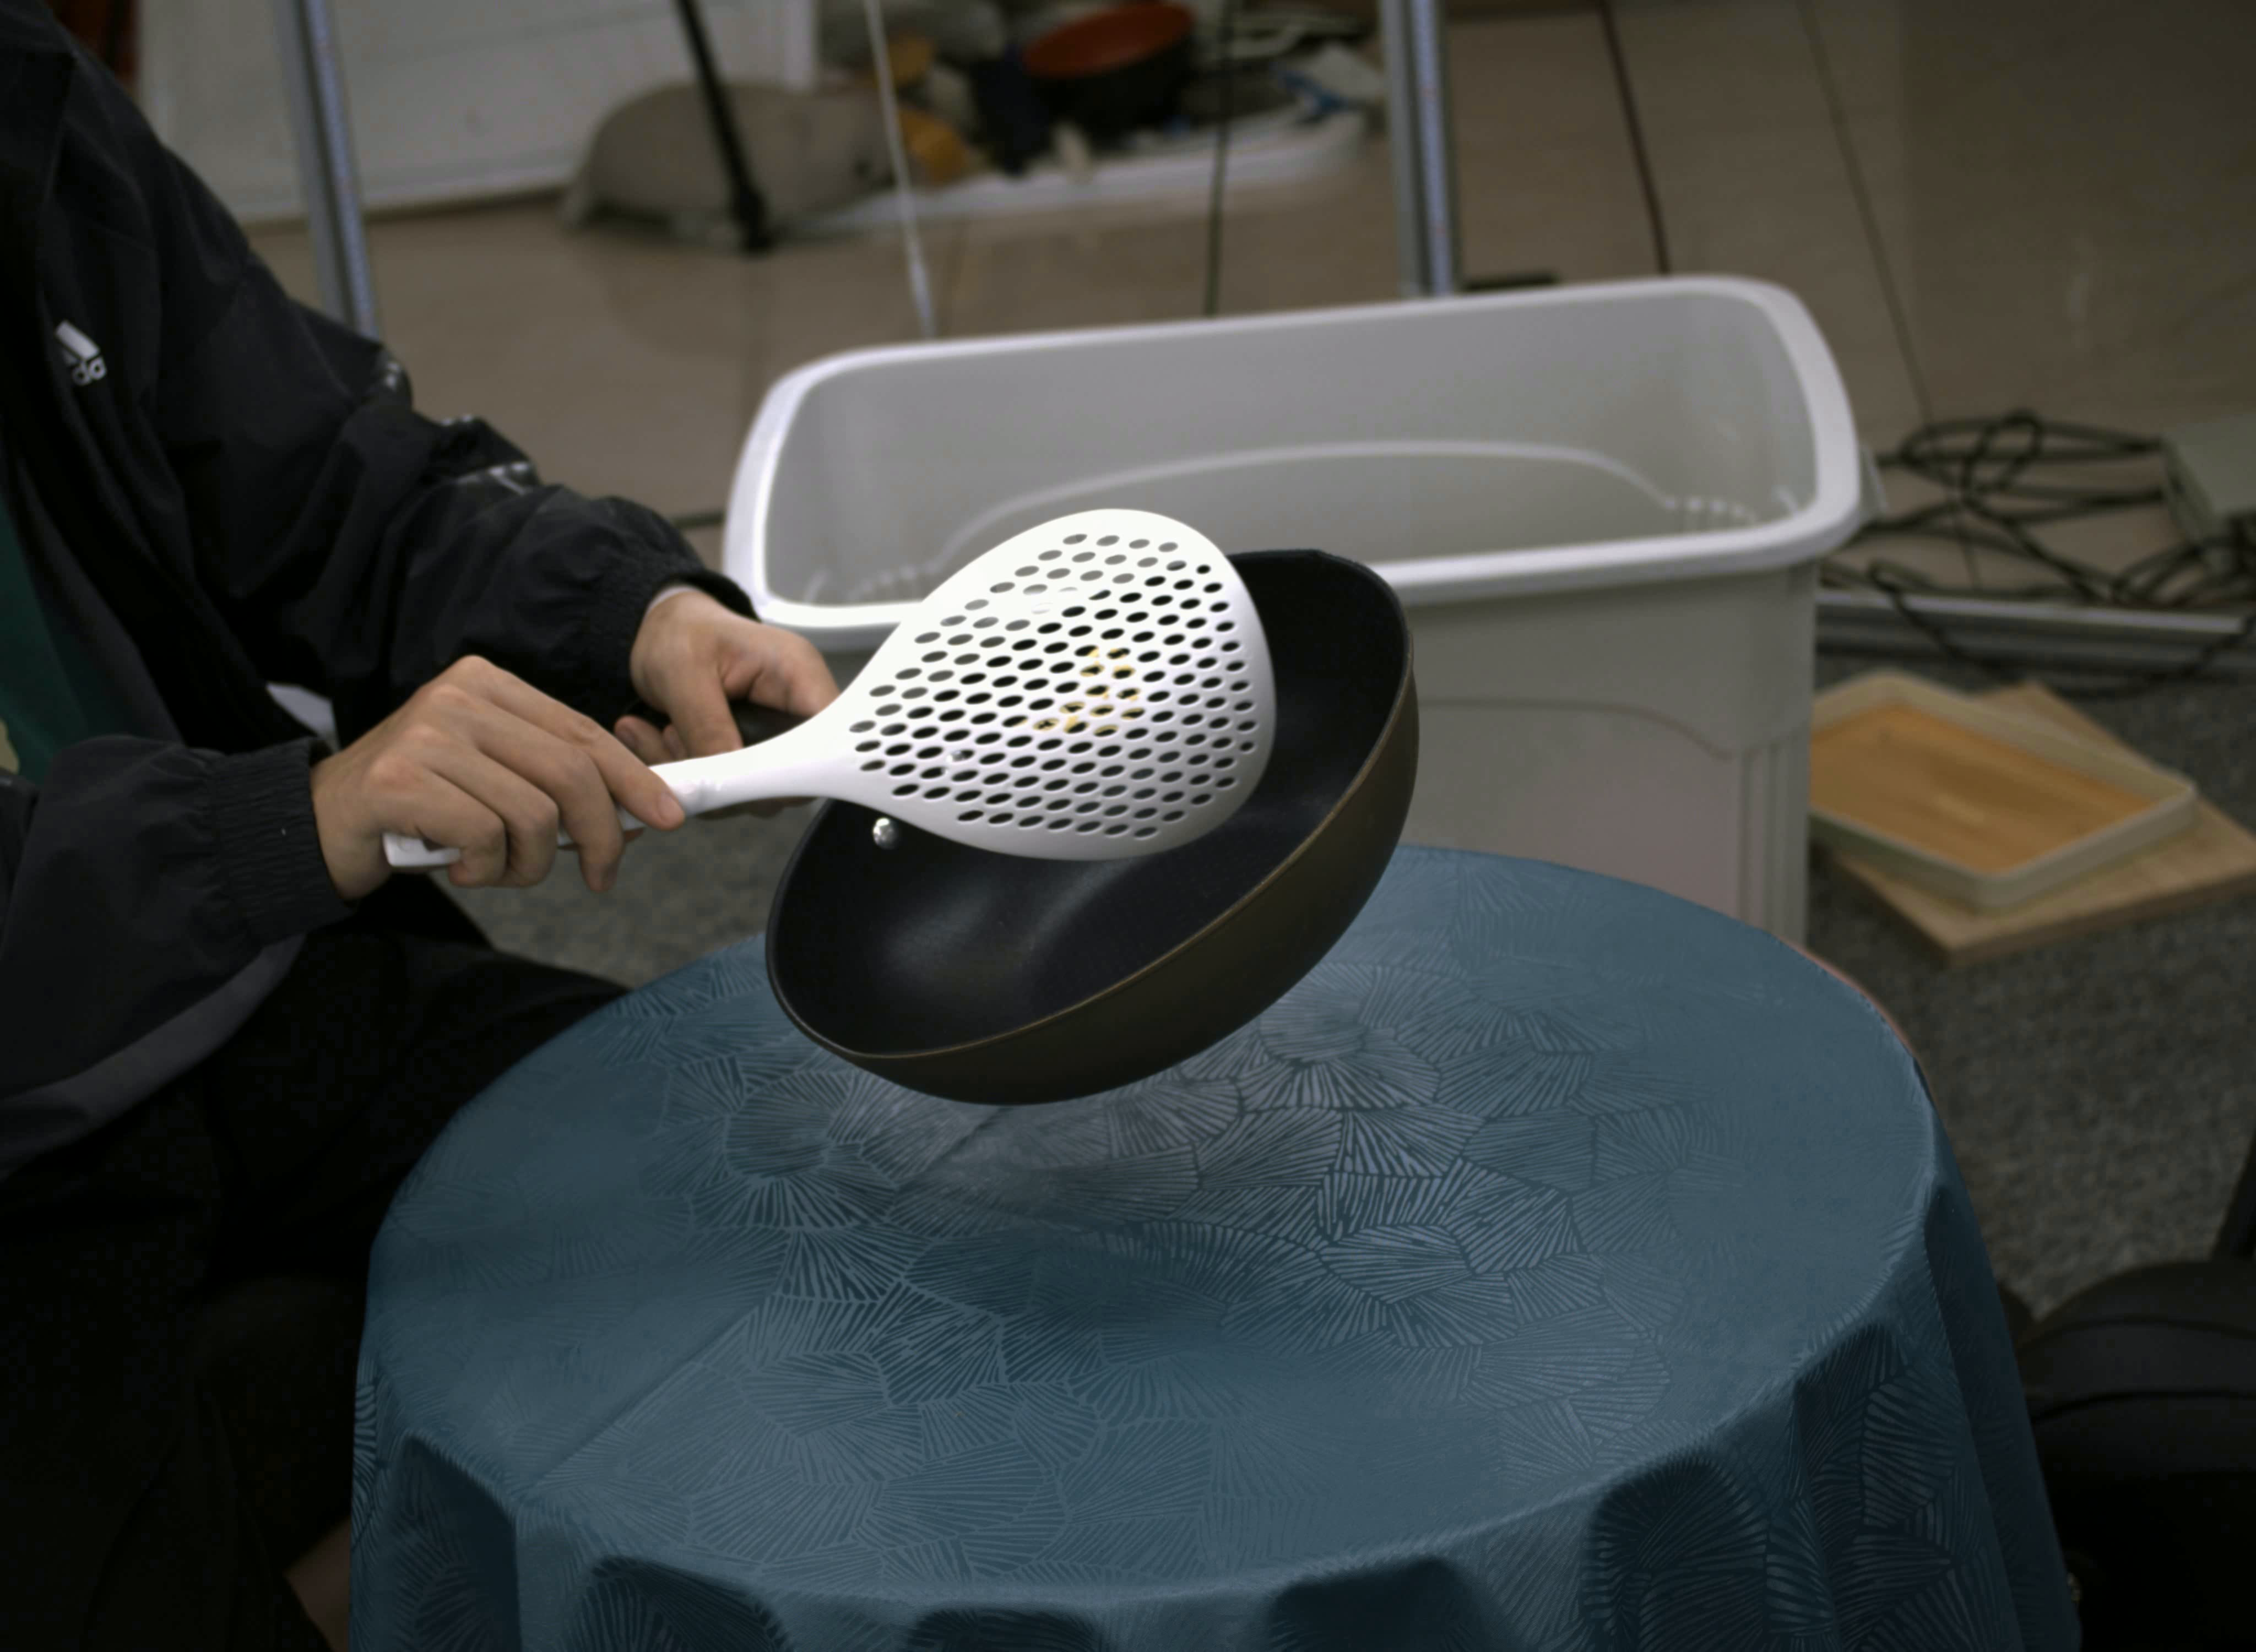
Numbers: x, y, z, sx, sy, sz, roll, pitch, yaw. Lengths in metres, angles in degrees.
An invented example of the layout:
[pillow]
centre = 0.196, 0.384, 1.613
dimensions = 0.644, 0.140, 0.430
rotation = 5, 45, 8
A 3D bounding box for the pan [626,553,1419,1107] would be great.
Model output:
[pan]
centre = -0.056, 0.005, 2.231
dimensions = 0.285, 0.088, 0.461
rotation = -47, 31, -23

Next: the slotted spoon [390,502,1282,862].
[slotted spoon]
centre = -0.107, -0.029, 2.135
dimensions = 0.347, 0.137, 0.050
rotation = -14, 6, -8
